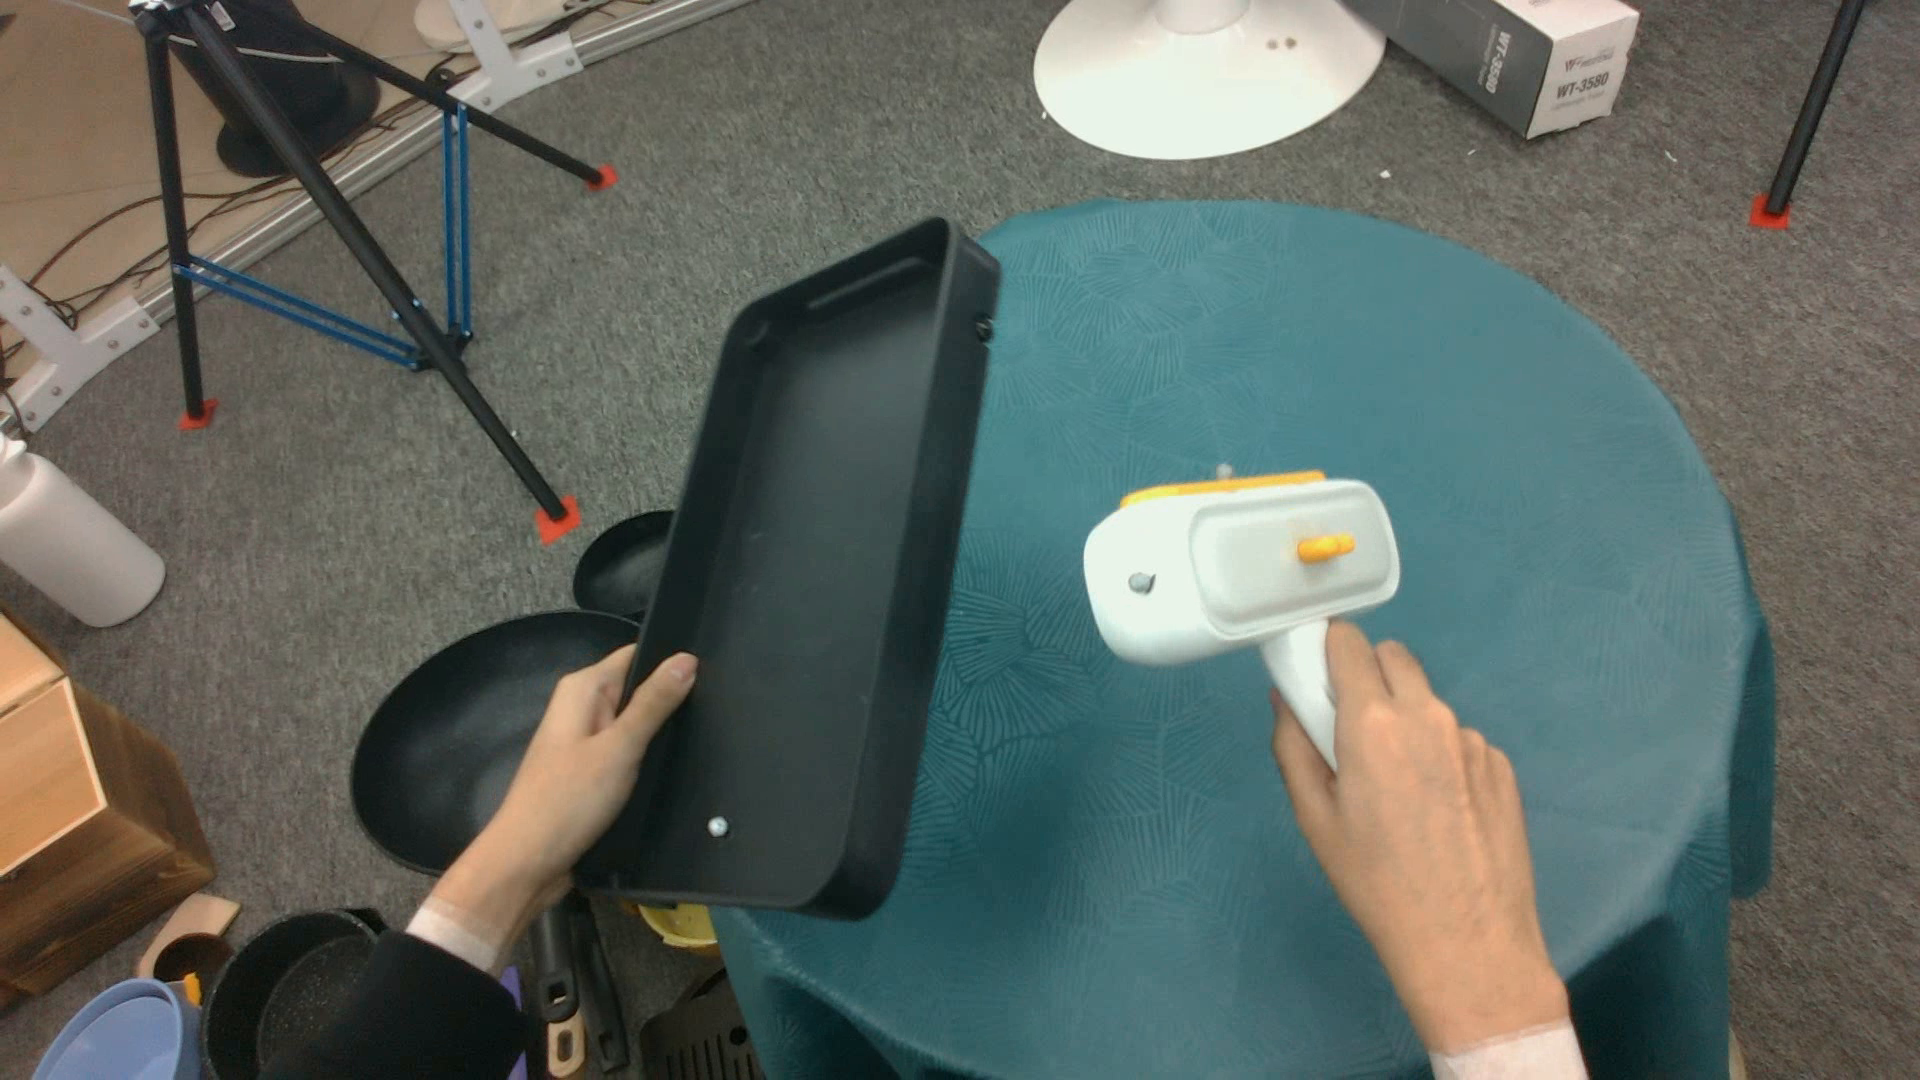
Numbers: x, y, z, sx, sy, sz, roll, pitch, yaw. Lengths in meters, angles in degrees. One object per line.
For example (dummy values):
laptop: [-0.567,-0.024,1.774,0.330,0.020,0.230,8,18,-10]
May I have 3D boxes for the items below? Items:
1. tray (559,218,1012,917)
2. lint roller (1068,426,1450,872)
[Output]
tray: [-0.077,0.010,0.631,0.183,0.037,0.319,-11,57,41]
lint roller: [0.139,0.048,0.569,0.074,0.193,0.192,-24,85,35]
